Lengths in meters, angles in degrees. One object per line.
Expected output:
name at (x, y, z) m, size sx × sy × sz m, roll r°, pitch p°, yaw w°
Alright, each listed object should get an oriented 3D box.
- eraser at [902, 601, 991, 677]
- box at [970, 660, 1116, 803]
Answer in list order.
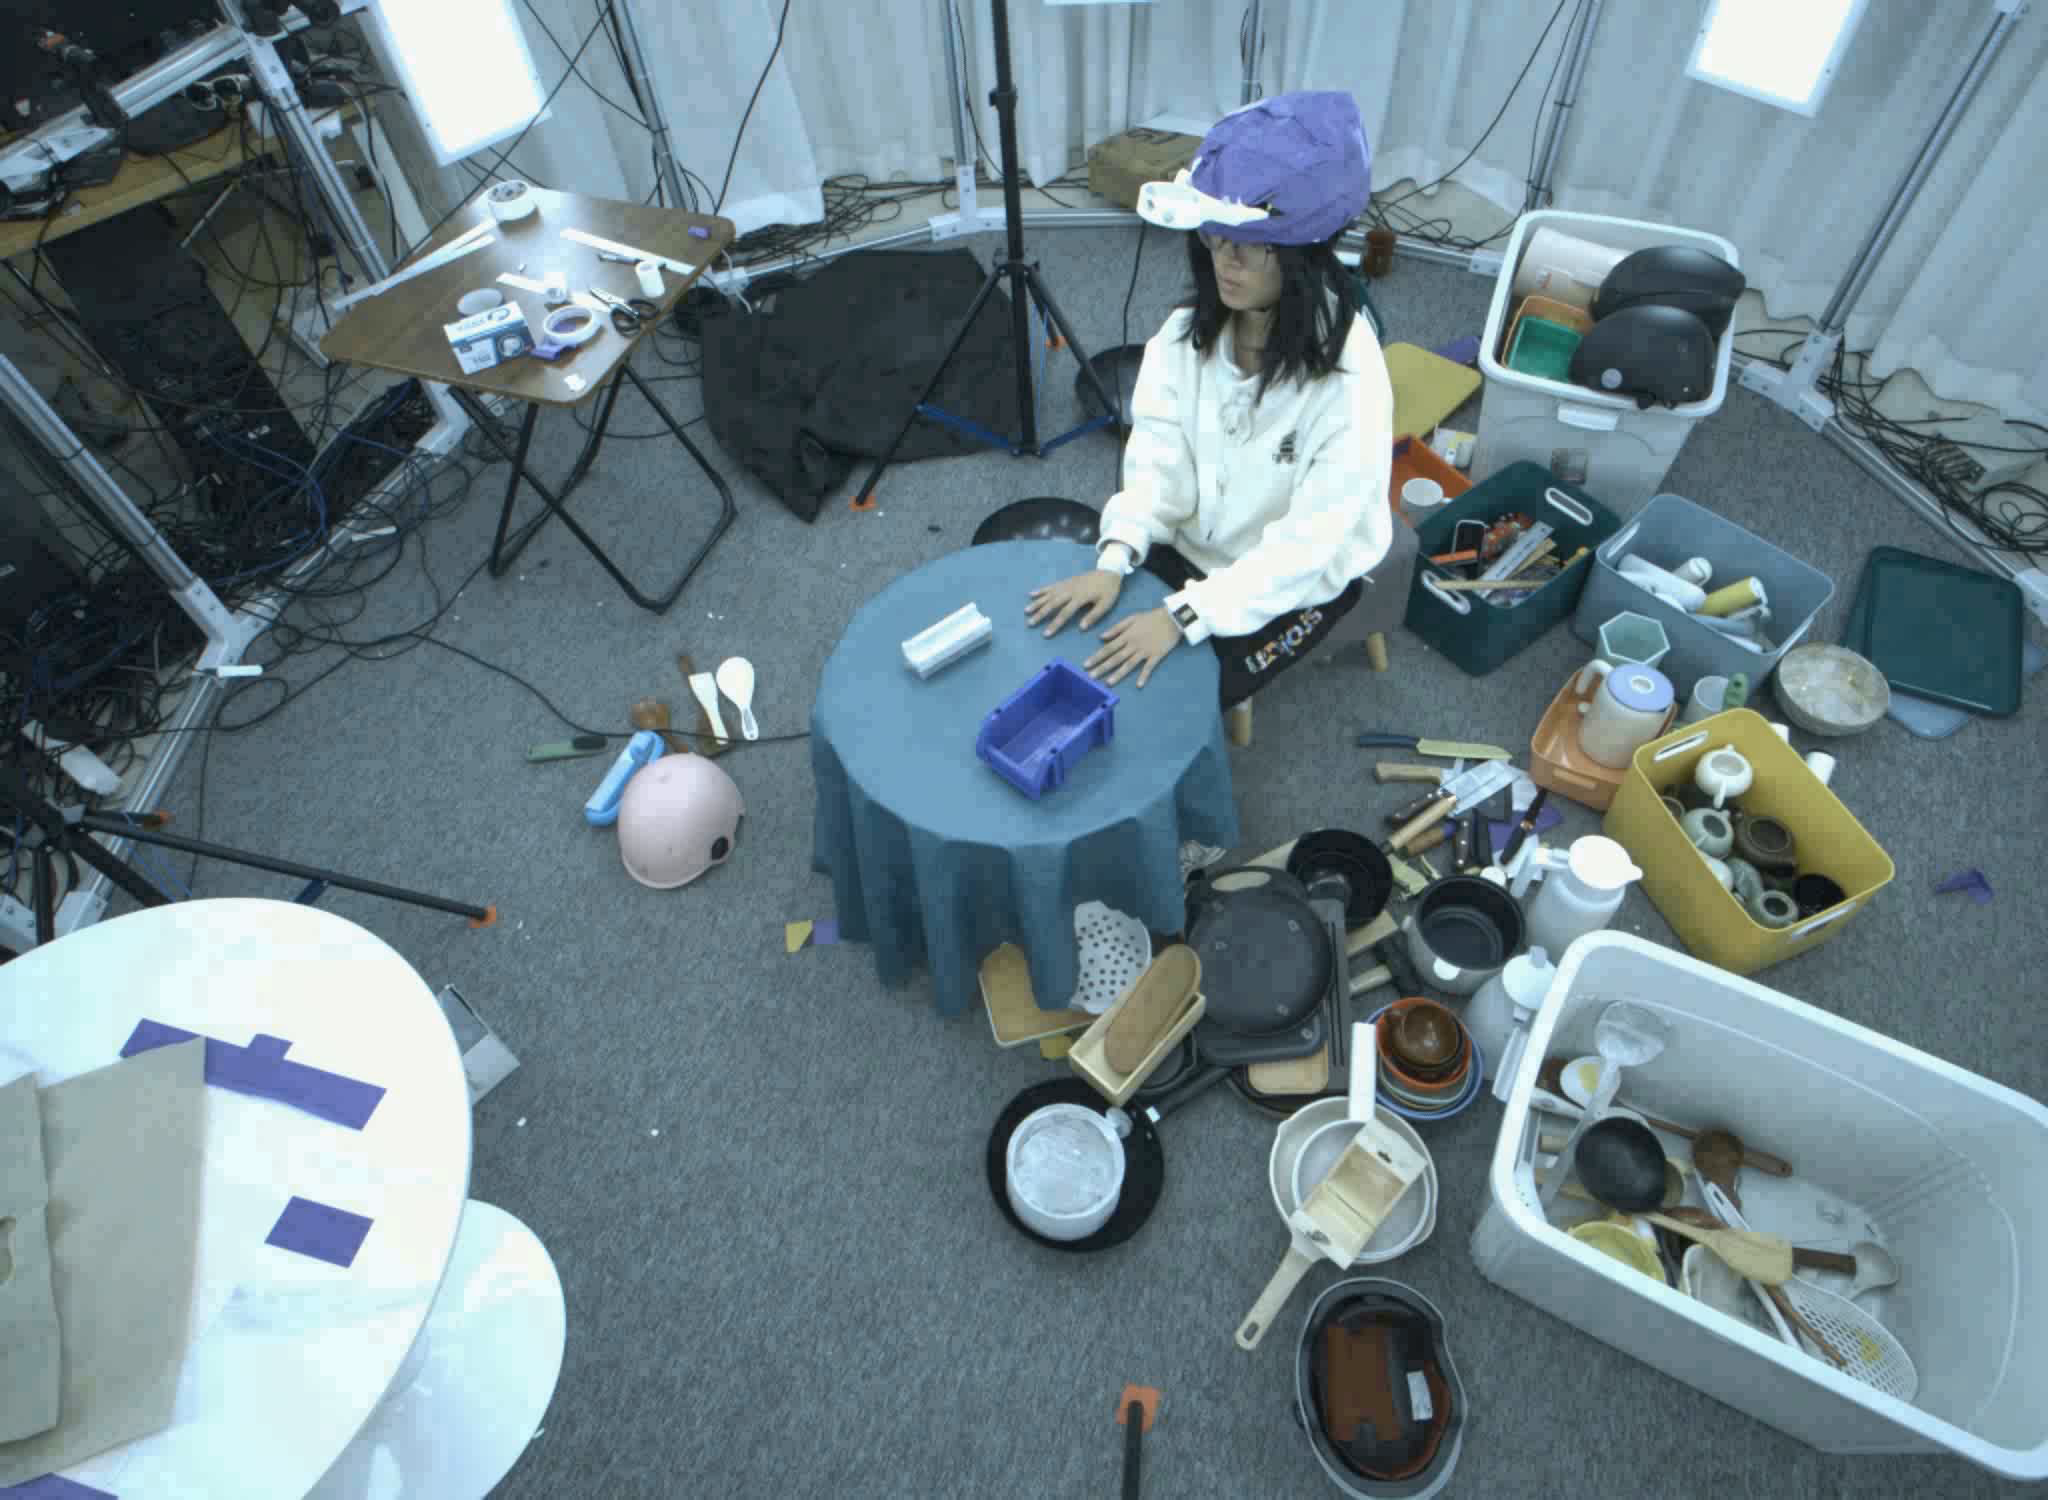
eraser at (-0.119, -0.170, 1.882) m, size 0.135 × 0.047 × 0.049 m, roll -36°, pitch 58°, yaw -19°
box at (0.028, -0.022, 1.752) m, size 0.122 × 0.083 × 0.181 m, roll 38°, pitch 62°, yaw 25°
